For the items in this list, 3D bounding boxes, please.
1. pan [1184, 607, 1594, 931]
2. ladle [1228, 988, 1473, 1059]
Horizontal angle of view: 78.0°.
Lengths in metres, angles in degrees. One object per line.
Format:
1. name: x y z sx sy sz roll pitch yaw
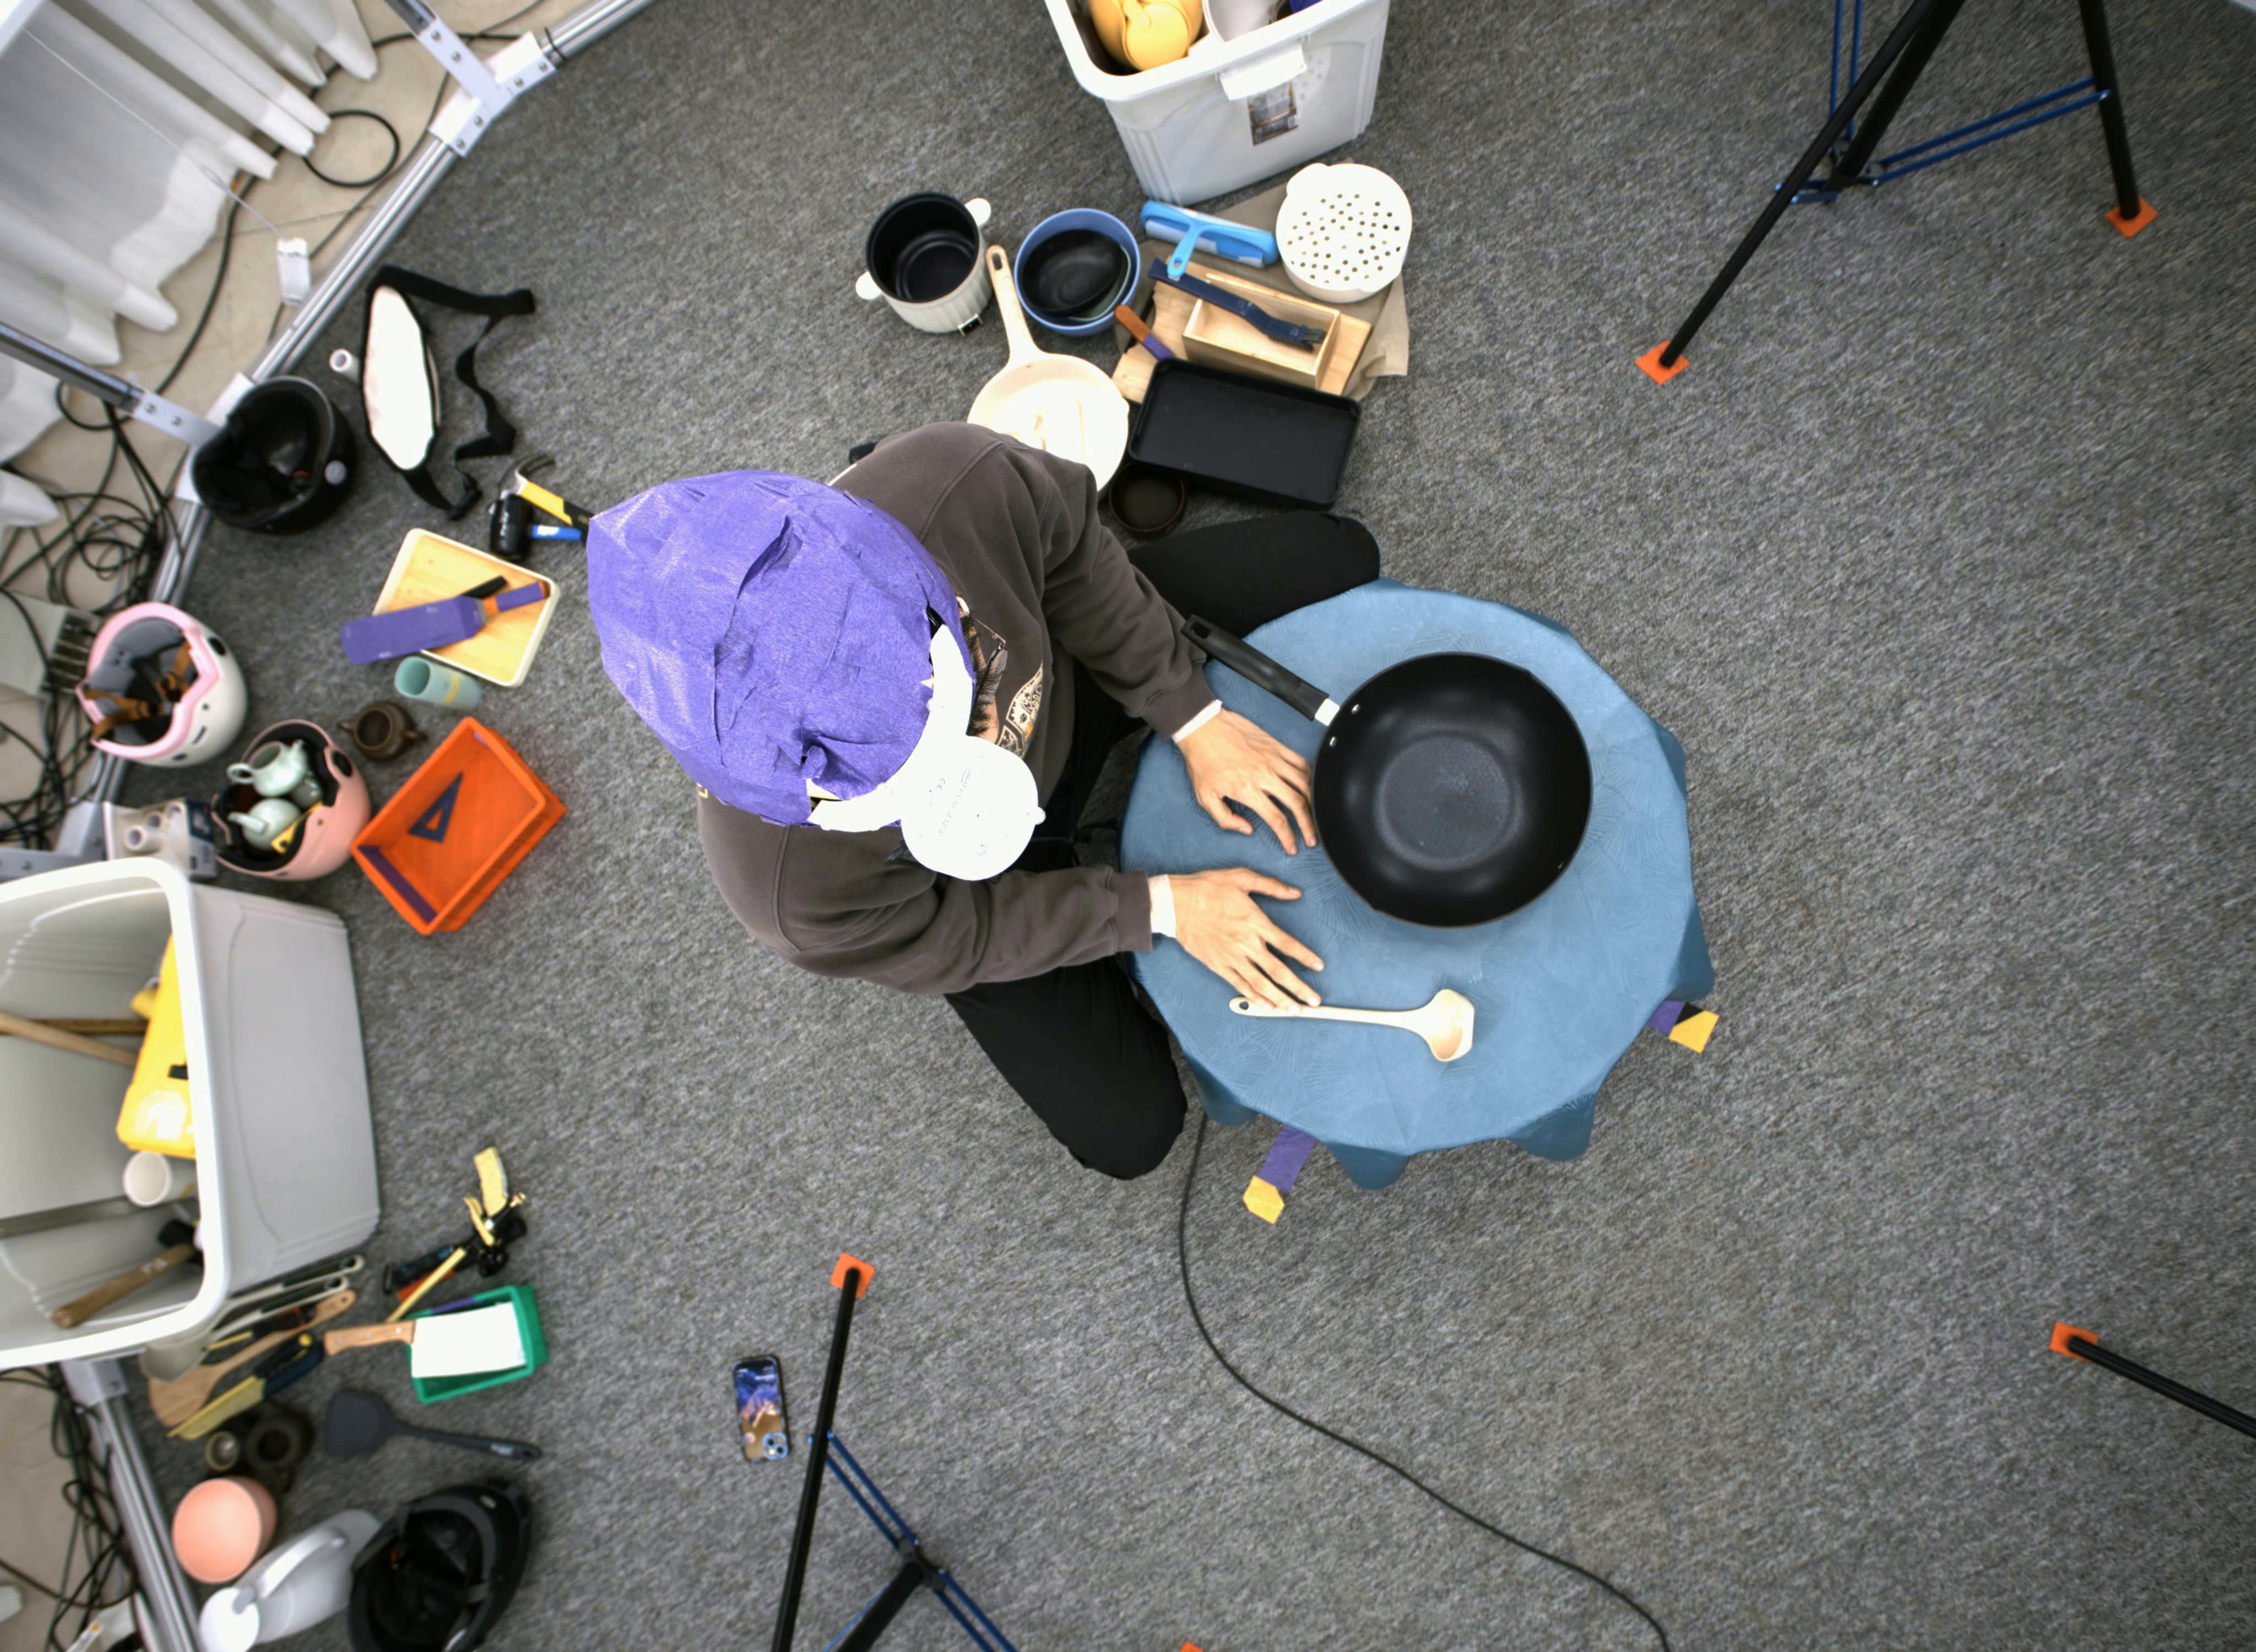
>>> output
1. pan: 0.253 -0.084 1.426 0.462 0.087 0.289 34 94 11
2. ladle: 0.226 0.197 1.423 0.255 0.072 0.072 1 90 10
